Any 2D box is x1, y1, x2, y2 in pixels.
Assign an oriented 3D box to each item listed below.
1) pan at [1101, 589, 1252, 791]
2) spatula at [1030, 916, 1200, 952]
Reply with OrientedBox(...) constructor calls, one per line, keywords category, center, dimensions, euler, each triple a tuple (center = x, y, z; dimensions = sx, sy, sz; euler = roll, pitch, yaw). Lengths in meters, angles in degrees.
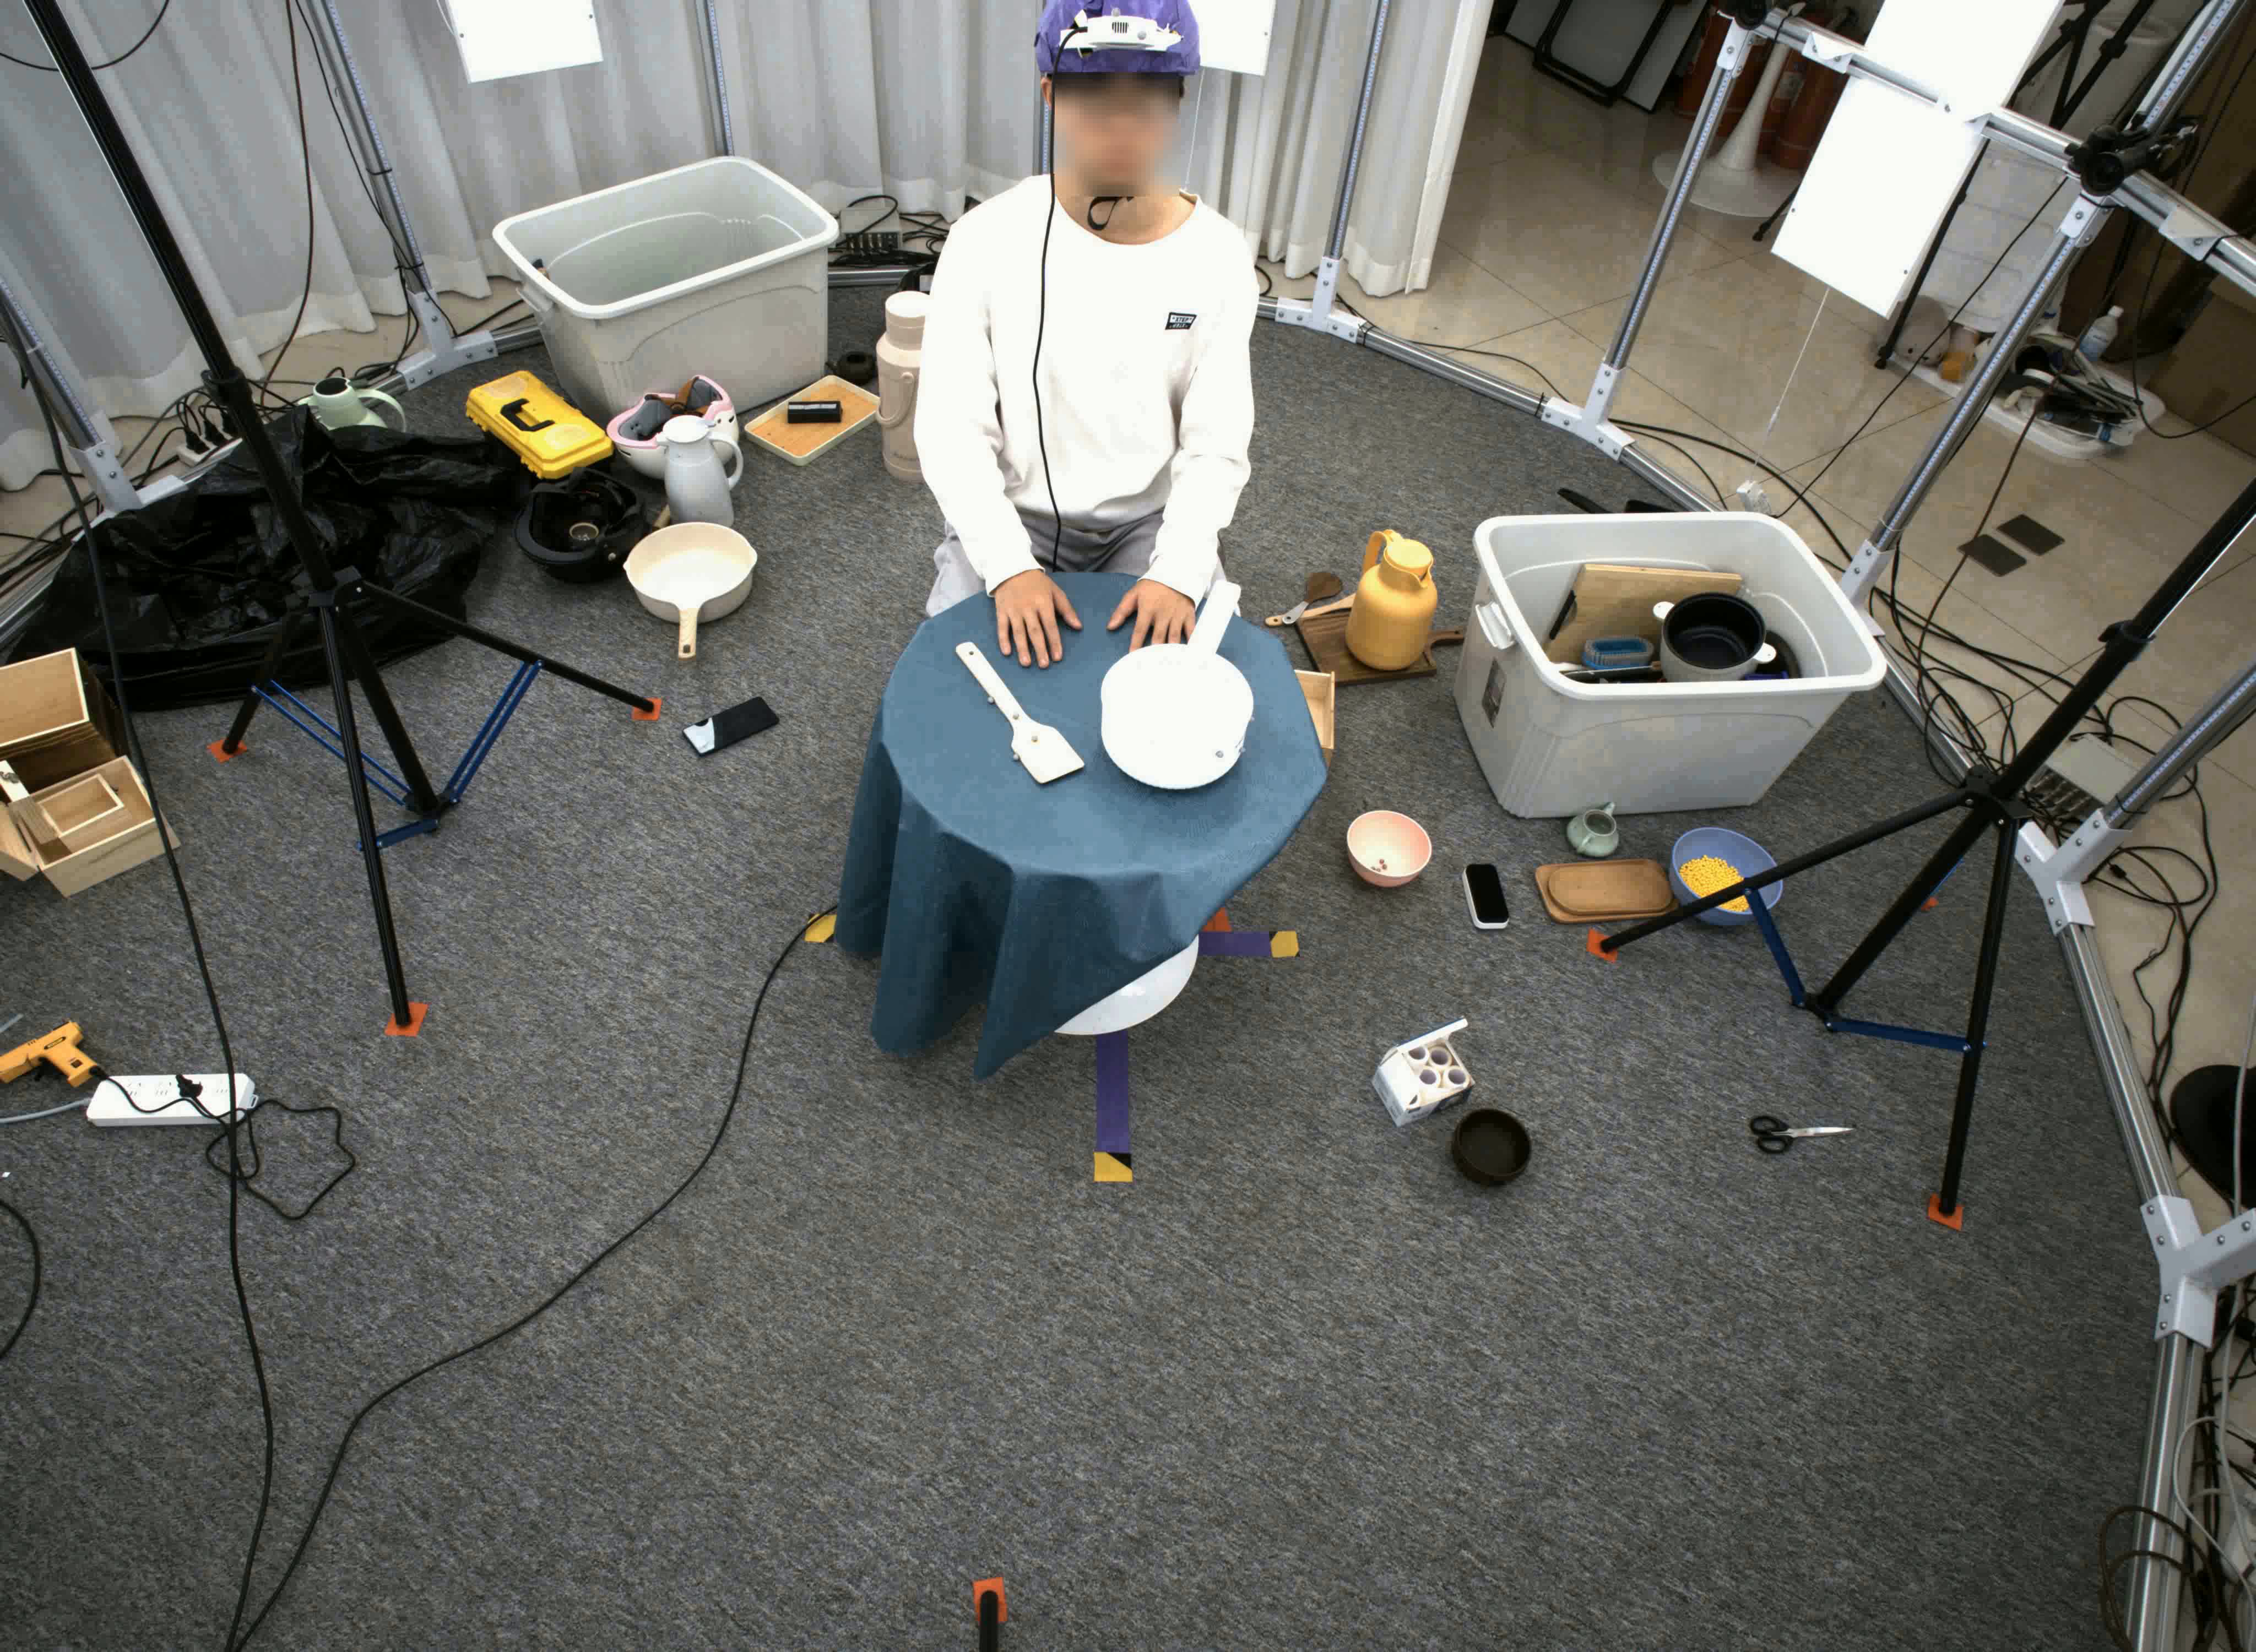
OrientedBox(category="pan", center=(0.087, -0.191, 1.784), dimensions=(0.202, 0.099, 0.362), euler=(13, 46, 12))
OrientedBox(category="spatula", center=(-0.021, 0.189, 2.205), dimensions=(0.293, 0.010, 0.074), euler=(3, 47, -2))
